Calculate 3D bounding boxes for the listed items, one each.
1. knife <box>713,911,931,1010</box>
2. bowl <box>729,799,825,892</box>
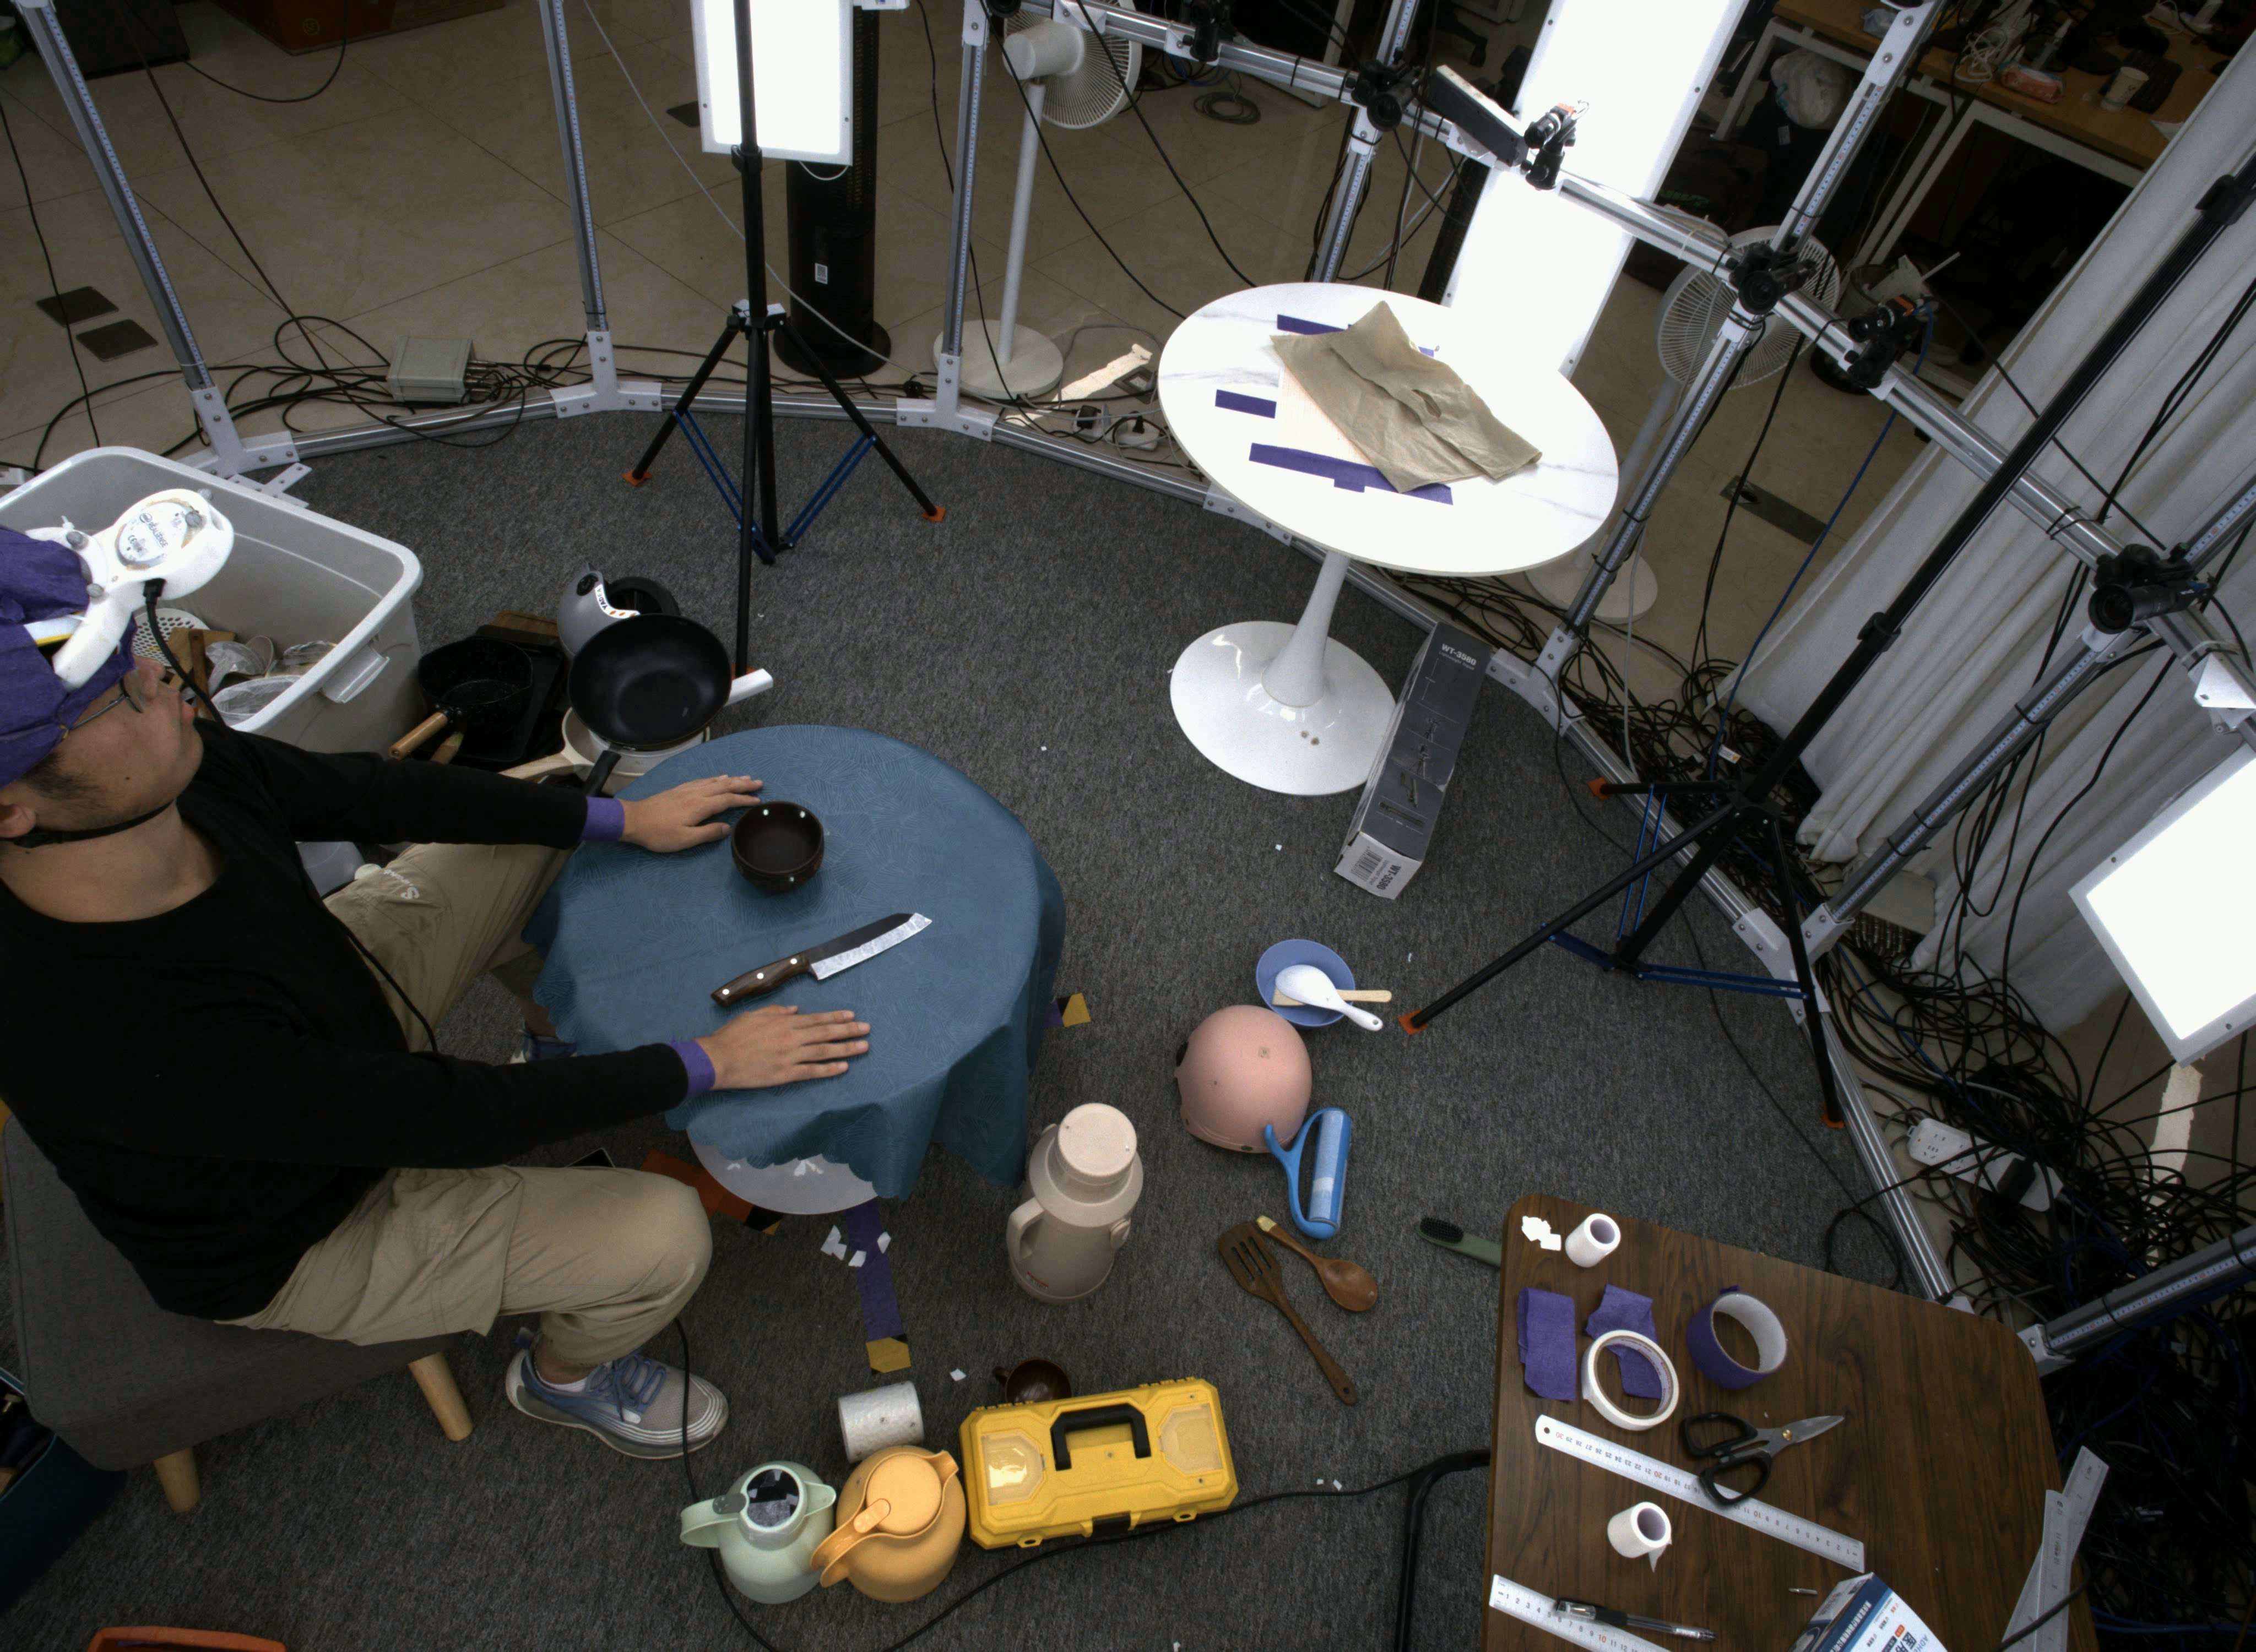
[{"bbox_3d":[-0.373,0.161,1.604,0.291,0.020,0.049,-21,66,-30],"label":"knife"},{"bbox_3d":[-0.445,0.031,1.646,0.117,0.071,0.116,7,52,-7],"label":"bowl"}]
